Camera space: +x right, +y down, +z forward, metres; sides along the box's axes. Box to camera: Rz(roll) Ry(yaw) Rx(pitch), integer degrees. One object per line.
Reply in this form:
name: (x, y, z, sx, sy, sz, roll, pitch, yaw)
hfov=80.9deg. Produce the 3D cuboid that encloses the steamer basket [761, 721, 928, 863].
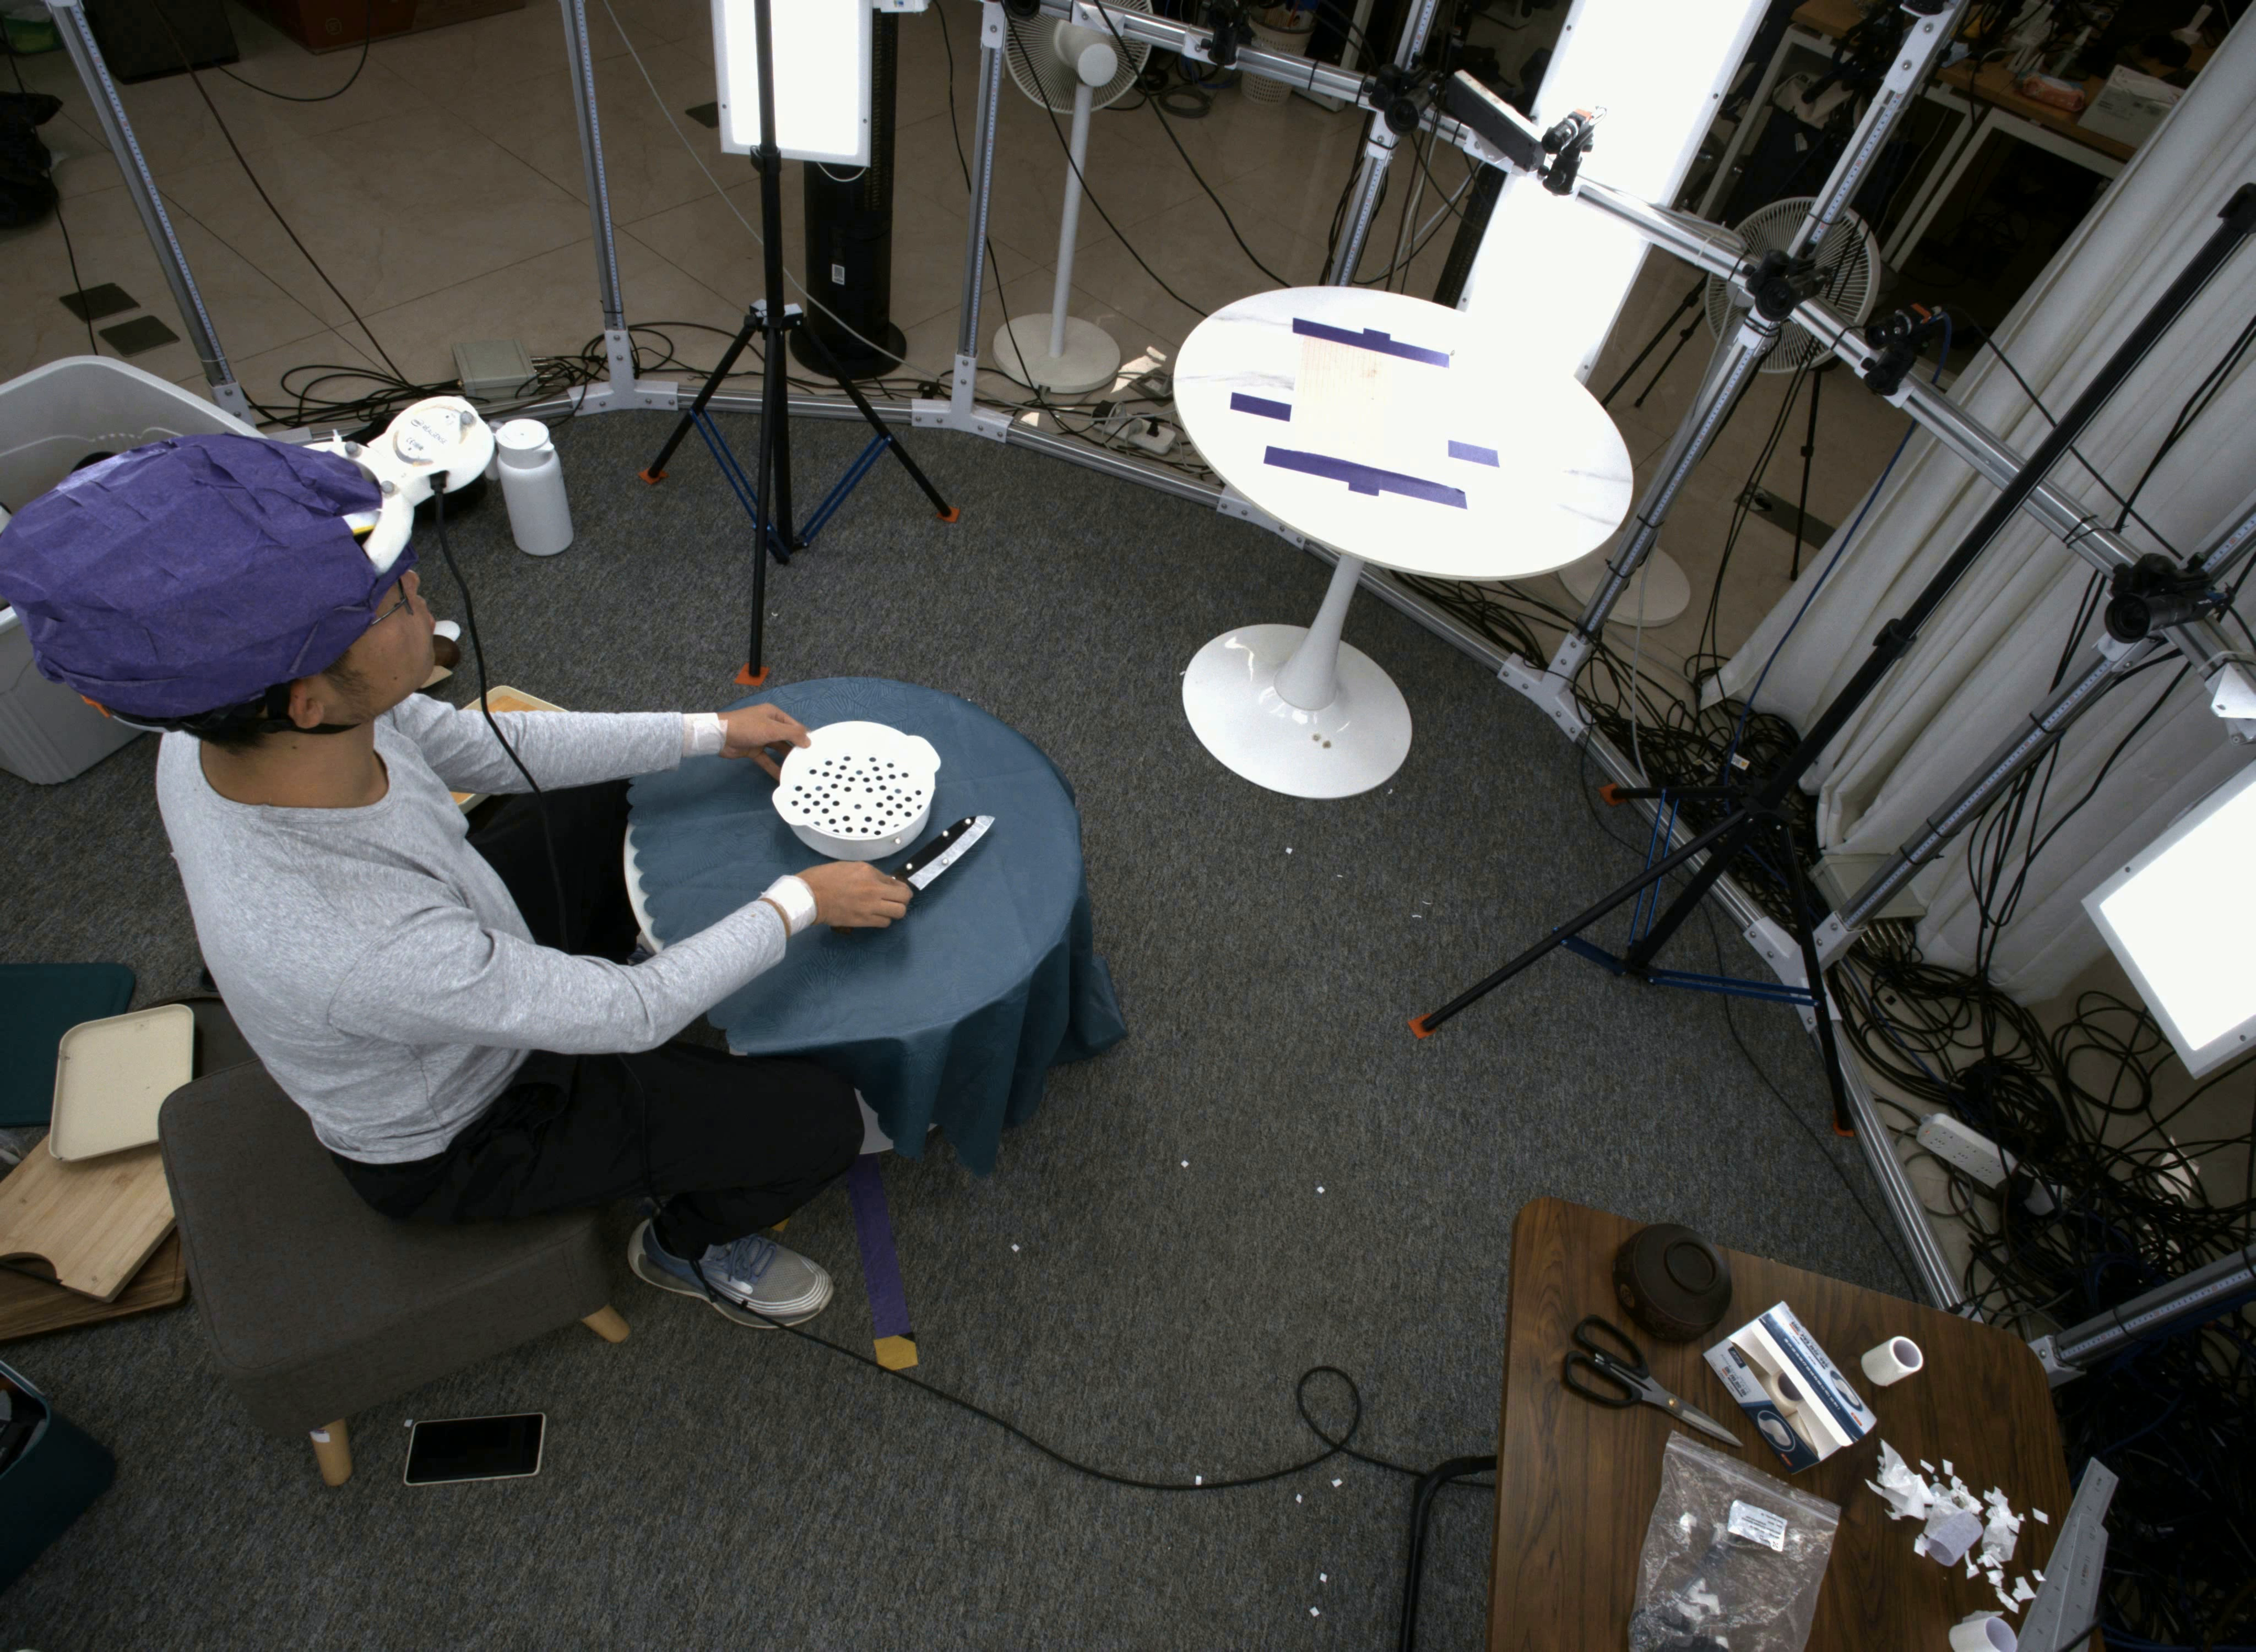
steamer basket: (-0.376, -0.045, 1.738, 0.231, 0.071, 0.197, -27, 63, -28)

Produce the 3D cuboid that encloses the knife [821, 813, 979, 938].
knife: (-0.289, 0.057, 1.685, 0.049, 0.020, 0.289, 38, 49, 13)
